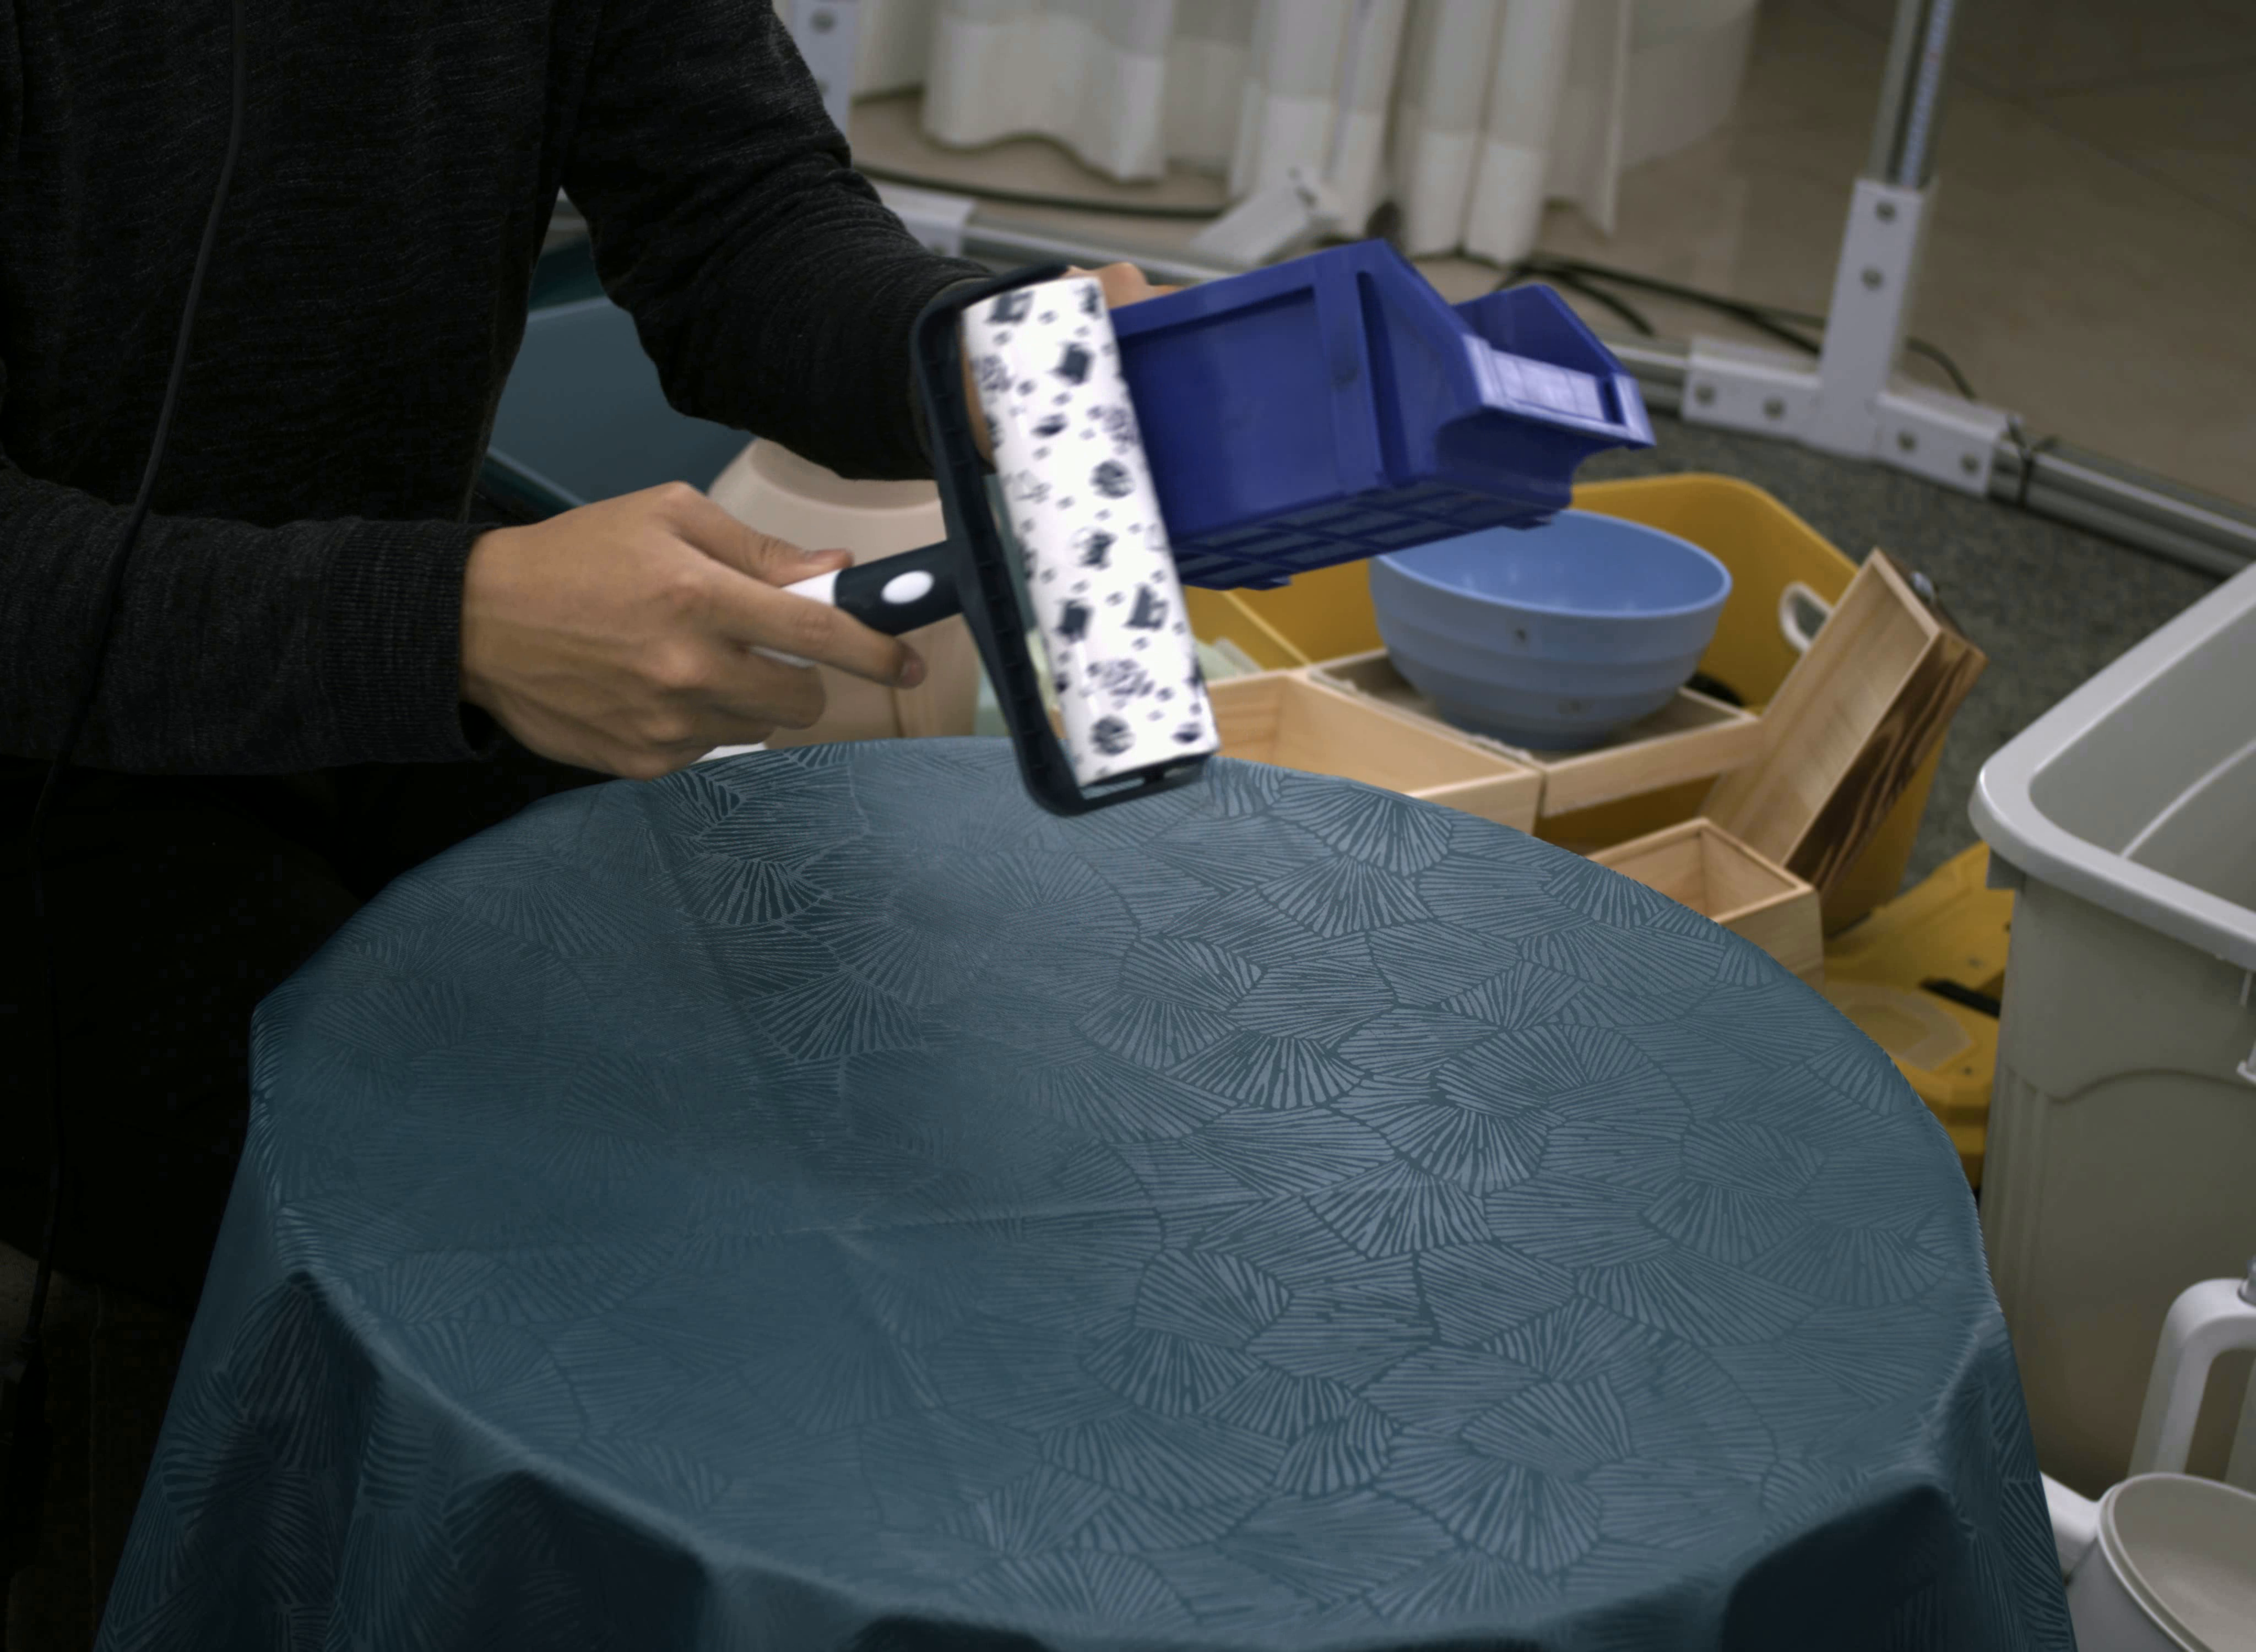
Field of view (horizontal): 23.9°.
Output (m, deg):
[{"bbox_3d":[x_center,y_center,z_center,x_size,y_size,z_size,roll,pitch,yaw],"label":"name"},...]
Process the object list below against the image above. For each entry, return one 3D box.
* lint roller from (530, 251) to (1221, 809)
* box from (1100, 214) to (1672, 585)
[{"bbox_3d":[-0.098,-0.070,1.762,0.247,0.177,0.050,-17,-5,25],"label":"lint roller"},{"bbox_3d":[0.073,-0.140,1.766,0.180,0.082,0.123,-16,-12,32],"label":"box"}]
